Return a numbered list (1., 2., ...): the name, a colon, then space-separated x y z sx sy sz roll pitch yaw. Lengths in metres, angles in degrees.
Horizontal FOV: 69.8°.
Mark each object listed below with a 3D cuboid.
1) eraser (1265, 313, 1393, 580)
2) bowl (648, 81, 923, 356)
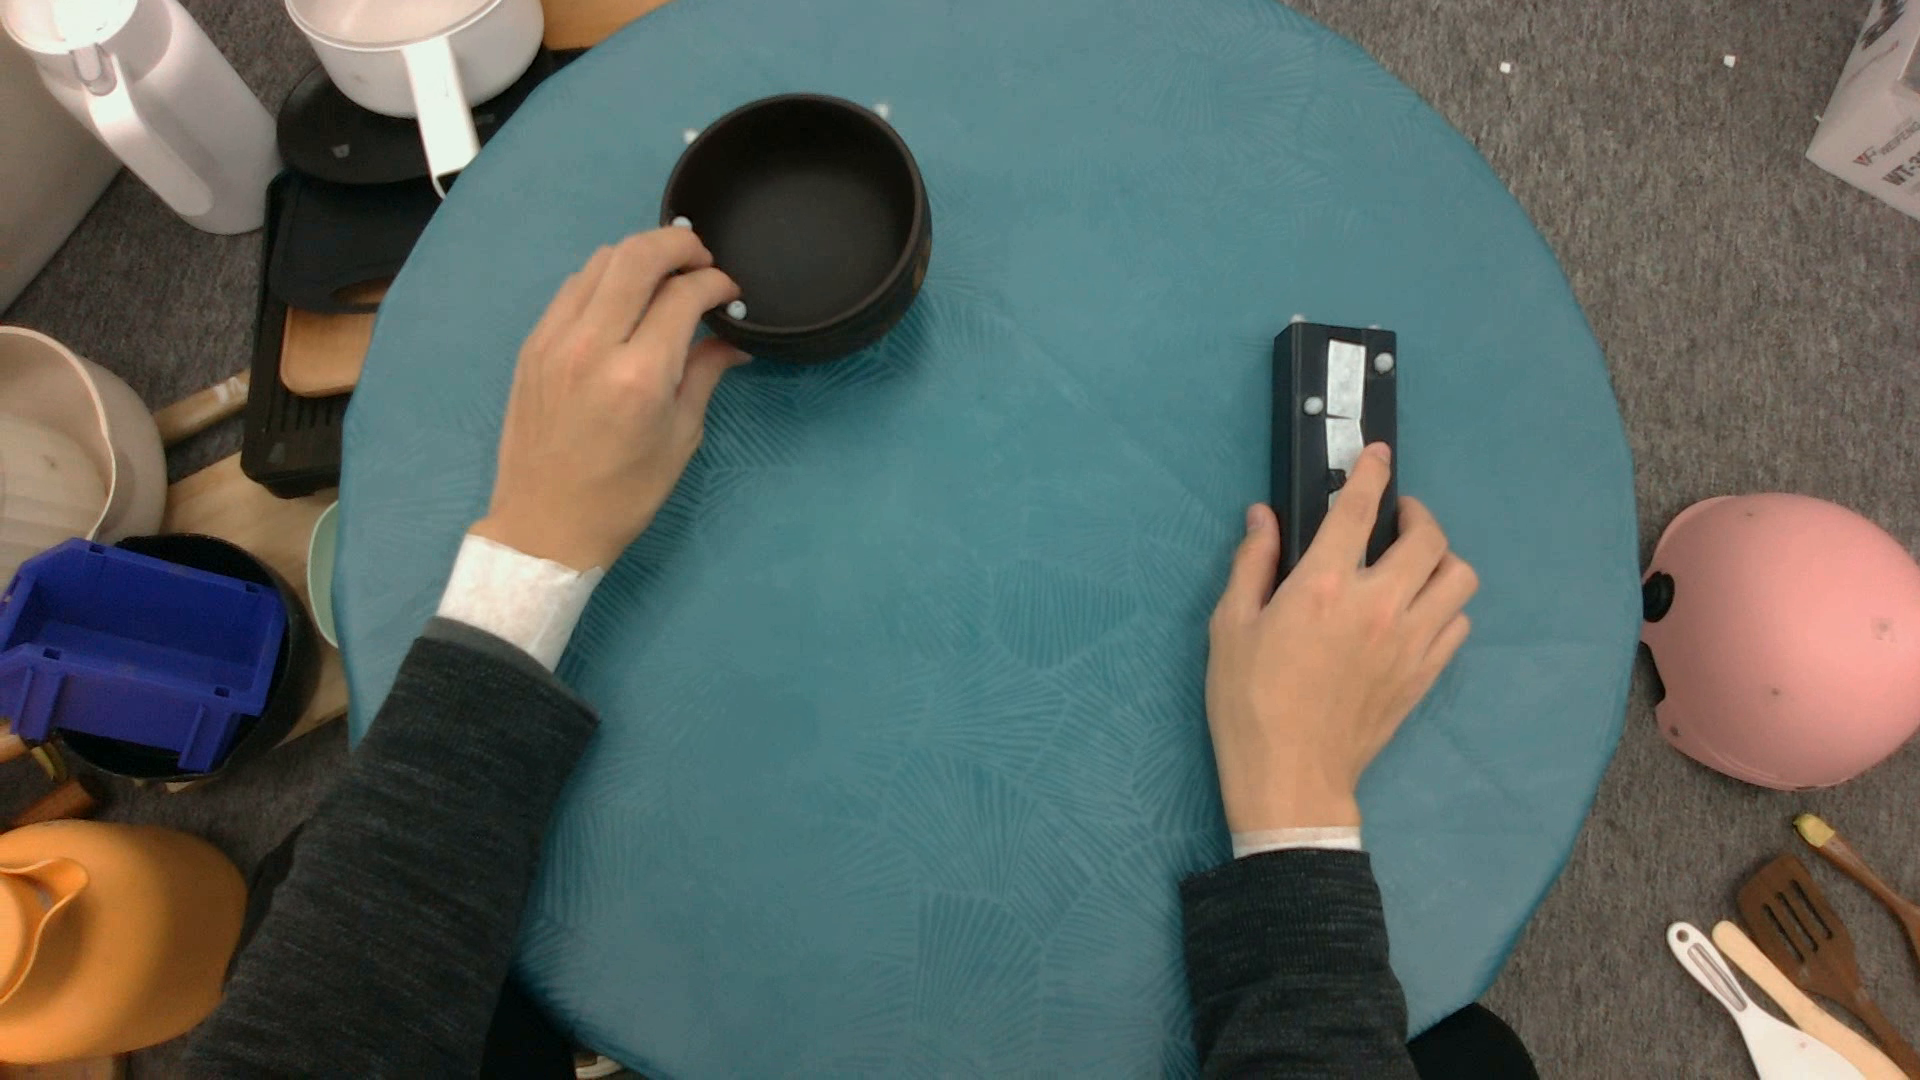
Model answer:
1. eraser: 0.169 -0.044 0.638 0.053 0.030 0.126 3 75 -2
2. bowl: -0.074 -0.137 0.619 0.118 0.070 0.118 -1 76 3
